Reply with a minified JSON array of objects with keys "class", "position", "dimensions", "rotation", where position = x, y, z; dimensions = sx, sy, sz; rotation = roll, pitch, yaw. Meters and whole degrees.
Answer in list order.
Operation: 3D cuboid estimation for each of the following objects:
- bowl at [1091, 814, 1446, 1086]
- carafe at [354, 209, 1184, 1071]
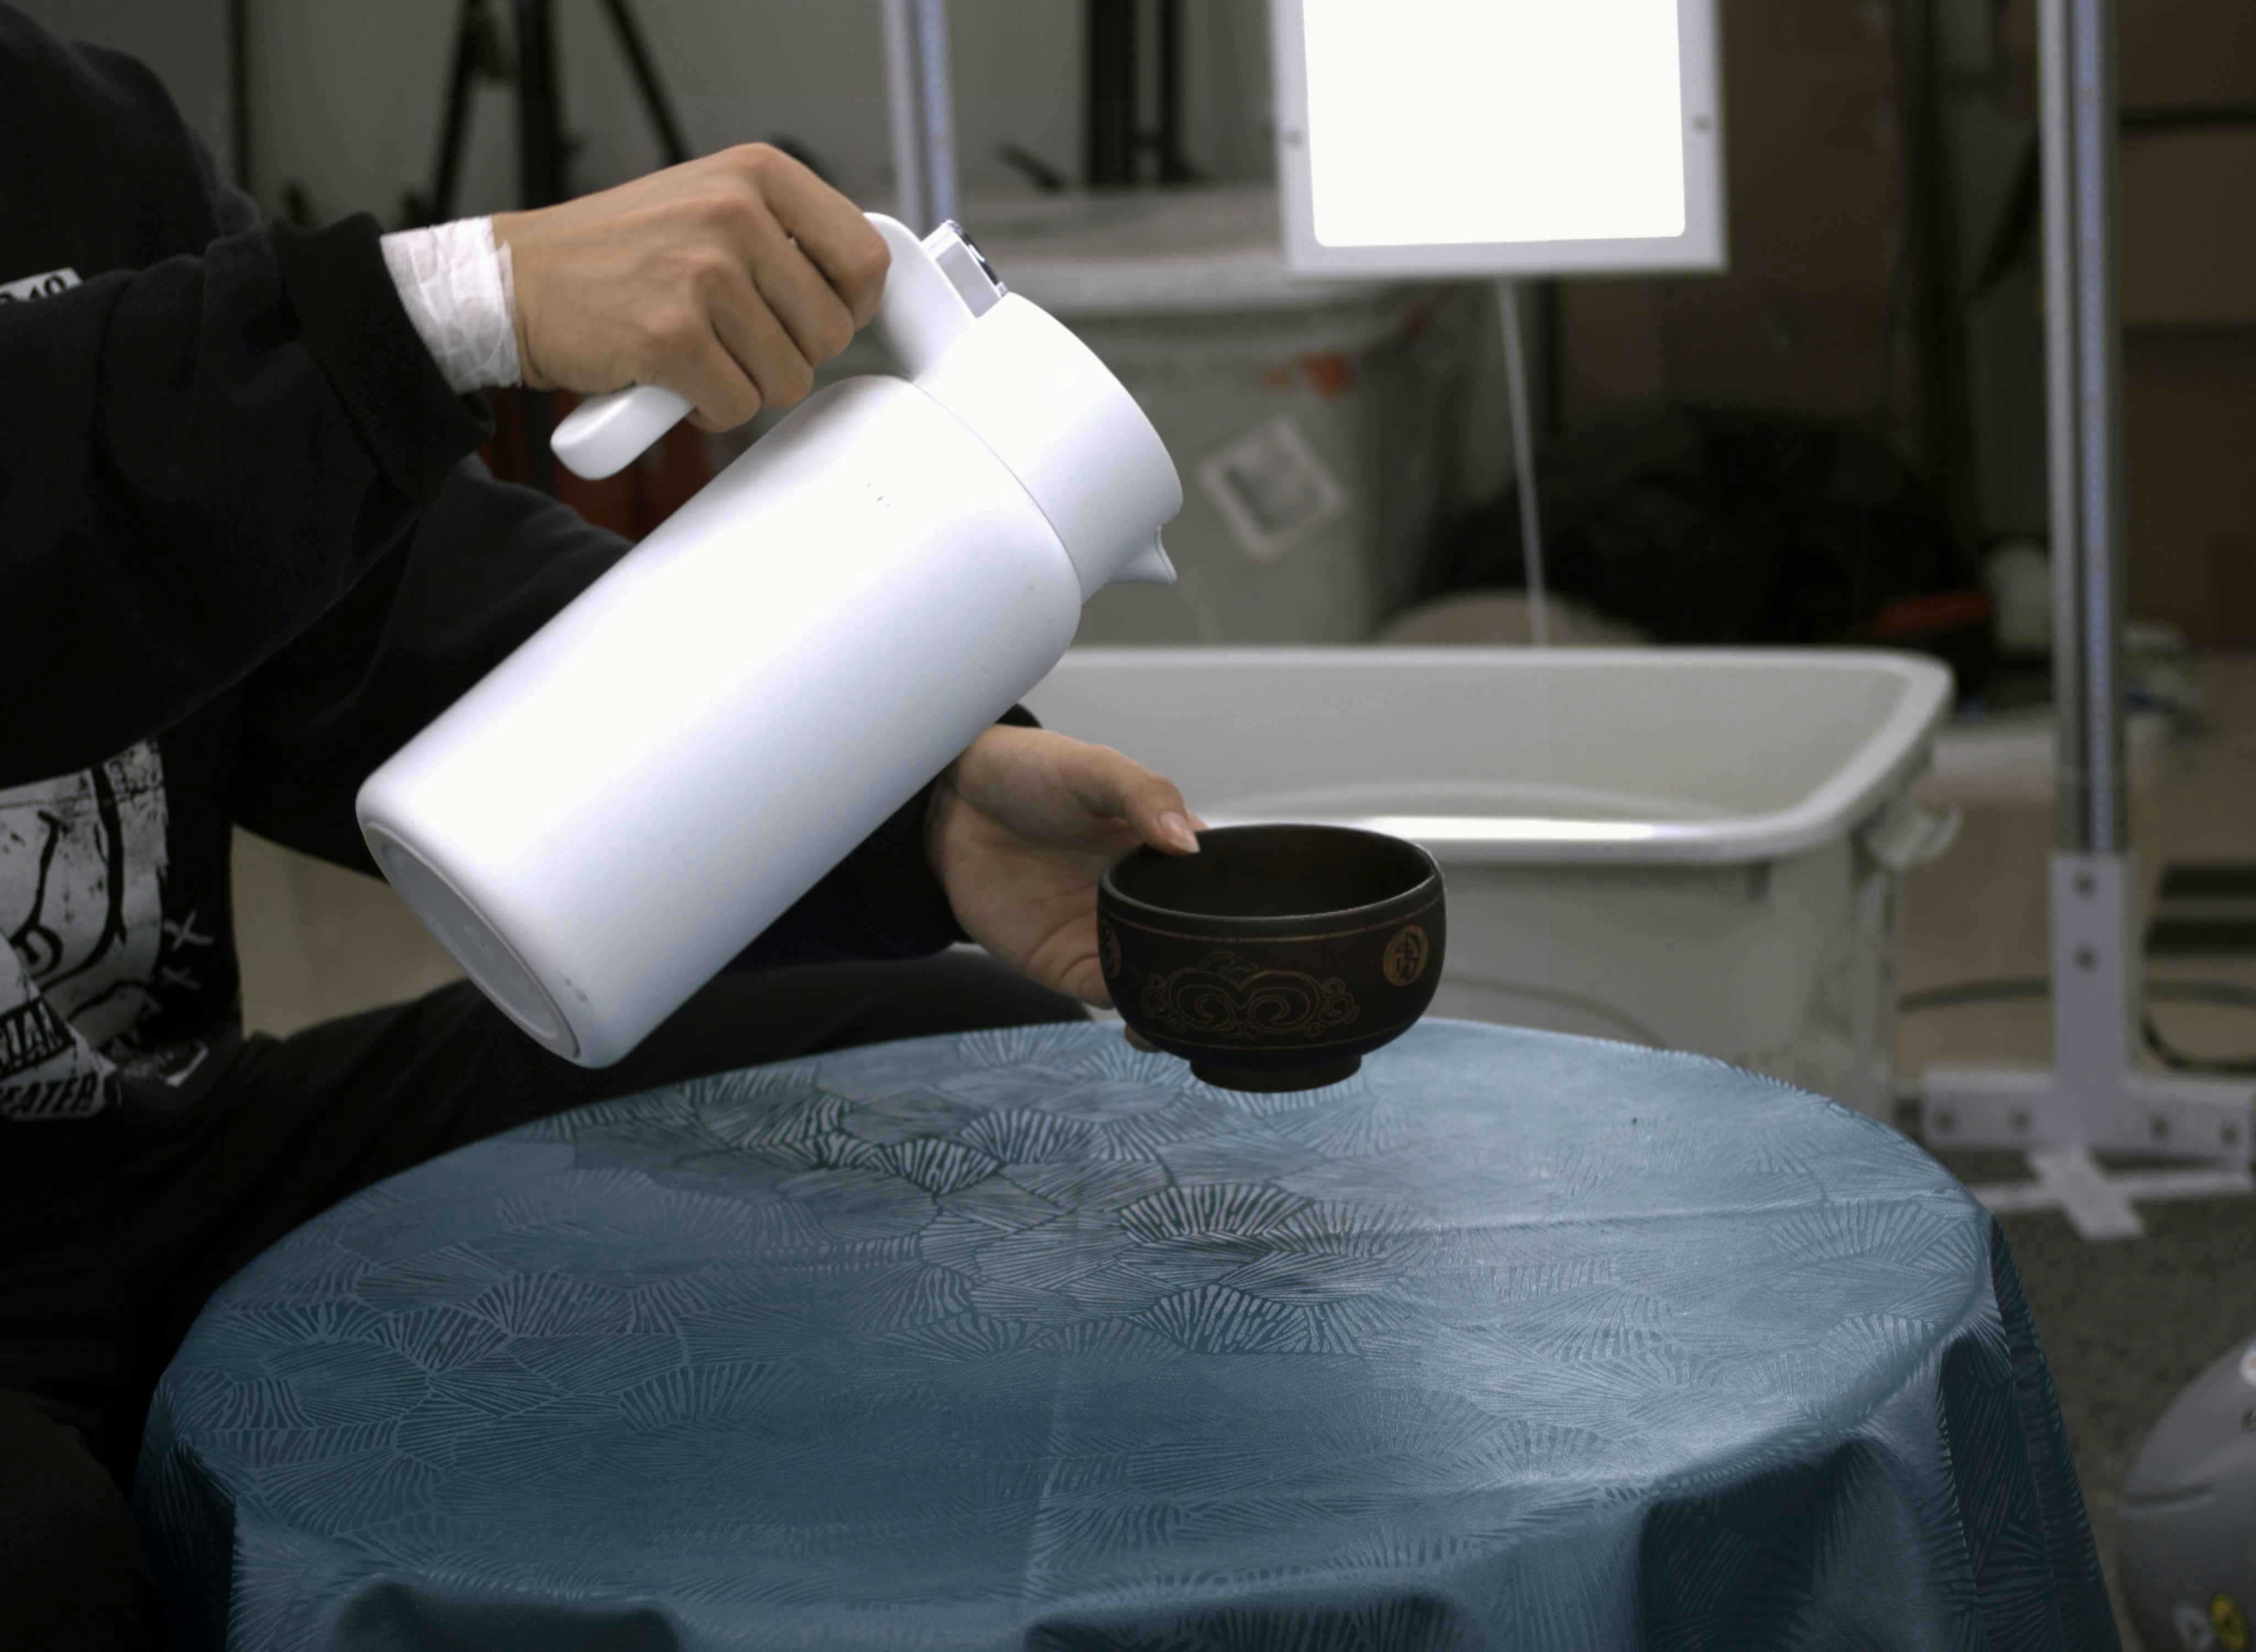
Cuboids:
[{"class":"bowl","position":[0.047,0.044,1.816],"dimensions":[0.118,0.070,0.118],"rotation":[-4,16,0]},{"class":"carafe","position":[-0.120,-0.063,1.731],"dimensions":[0.266,0.171,0.126],"rotation":[-42,23,-11]}]
